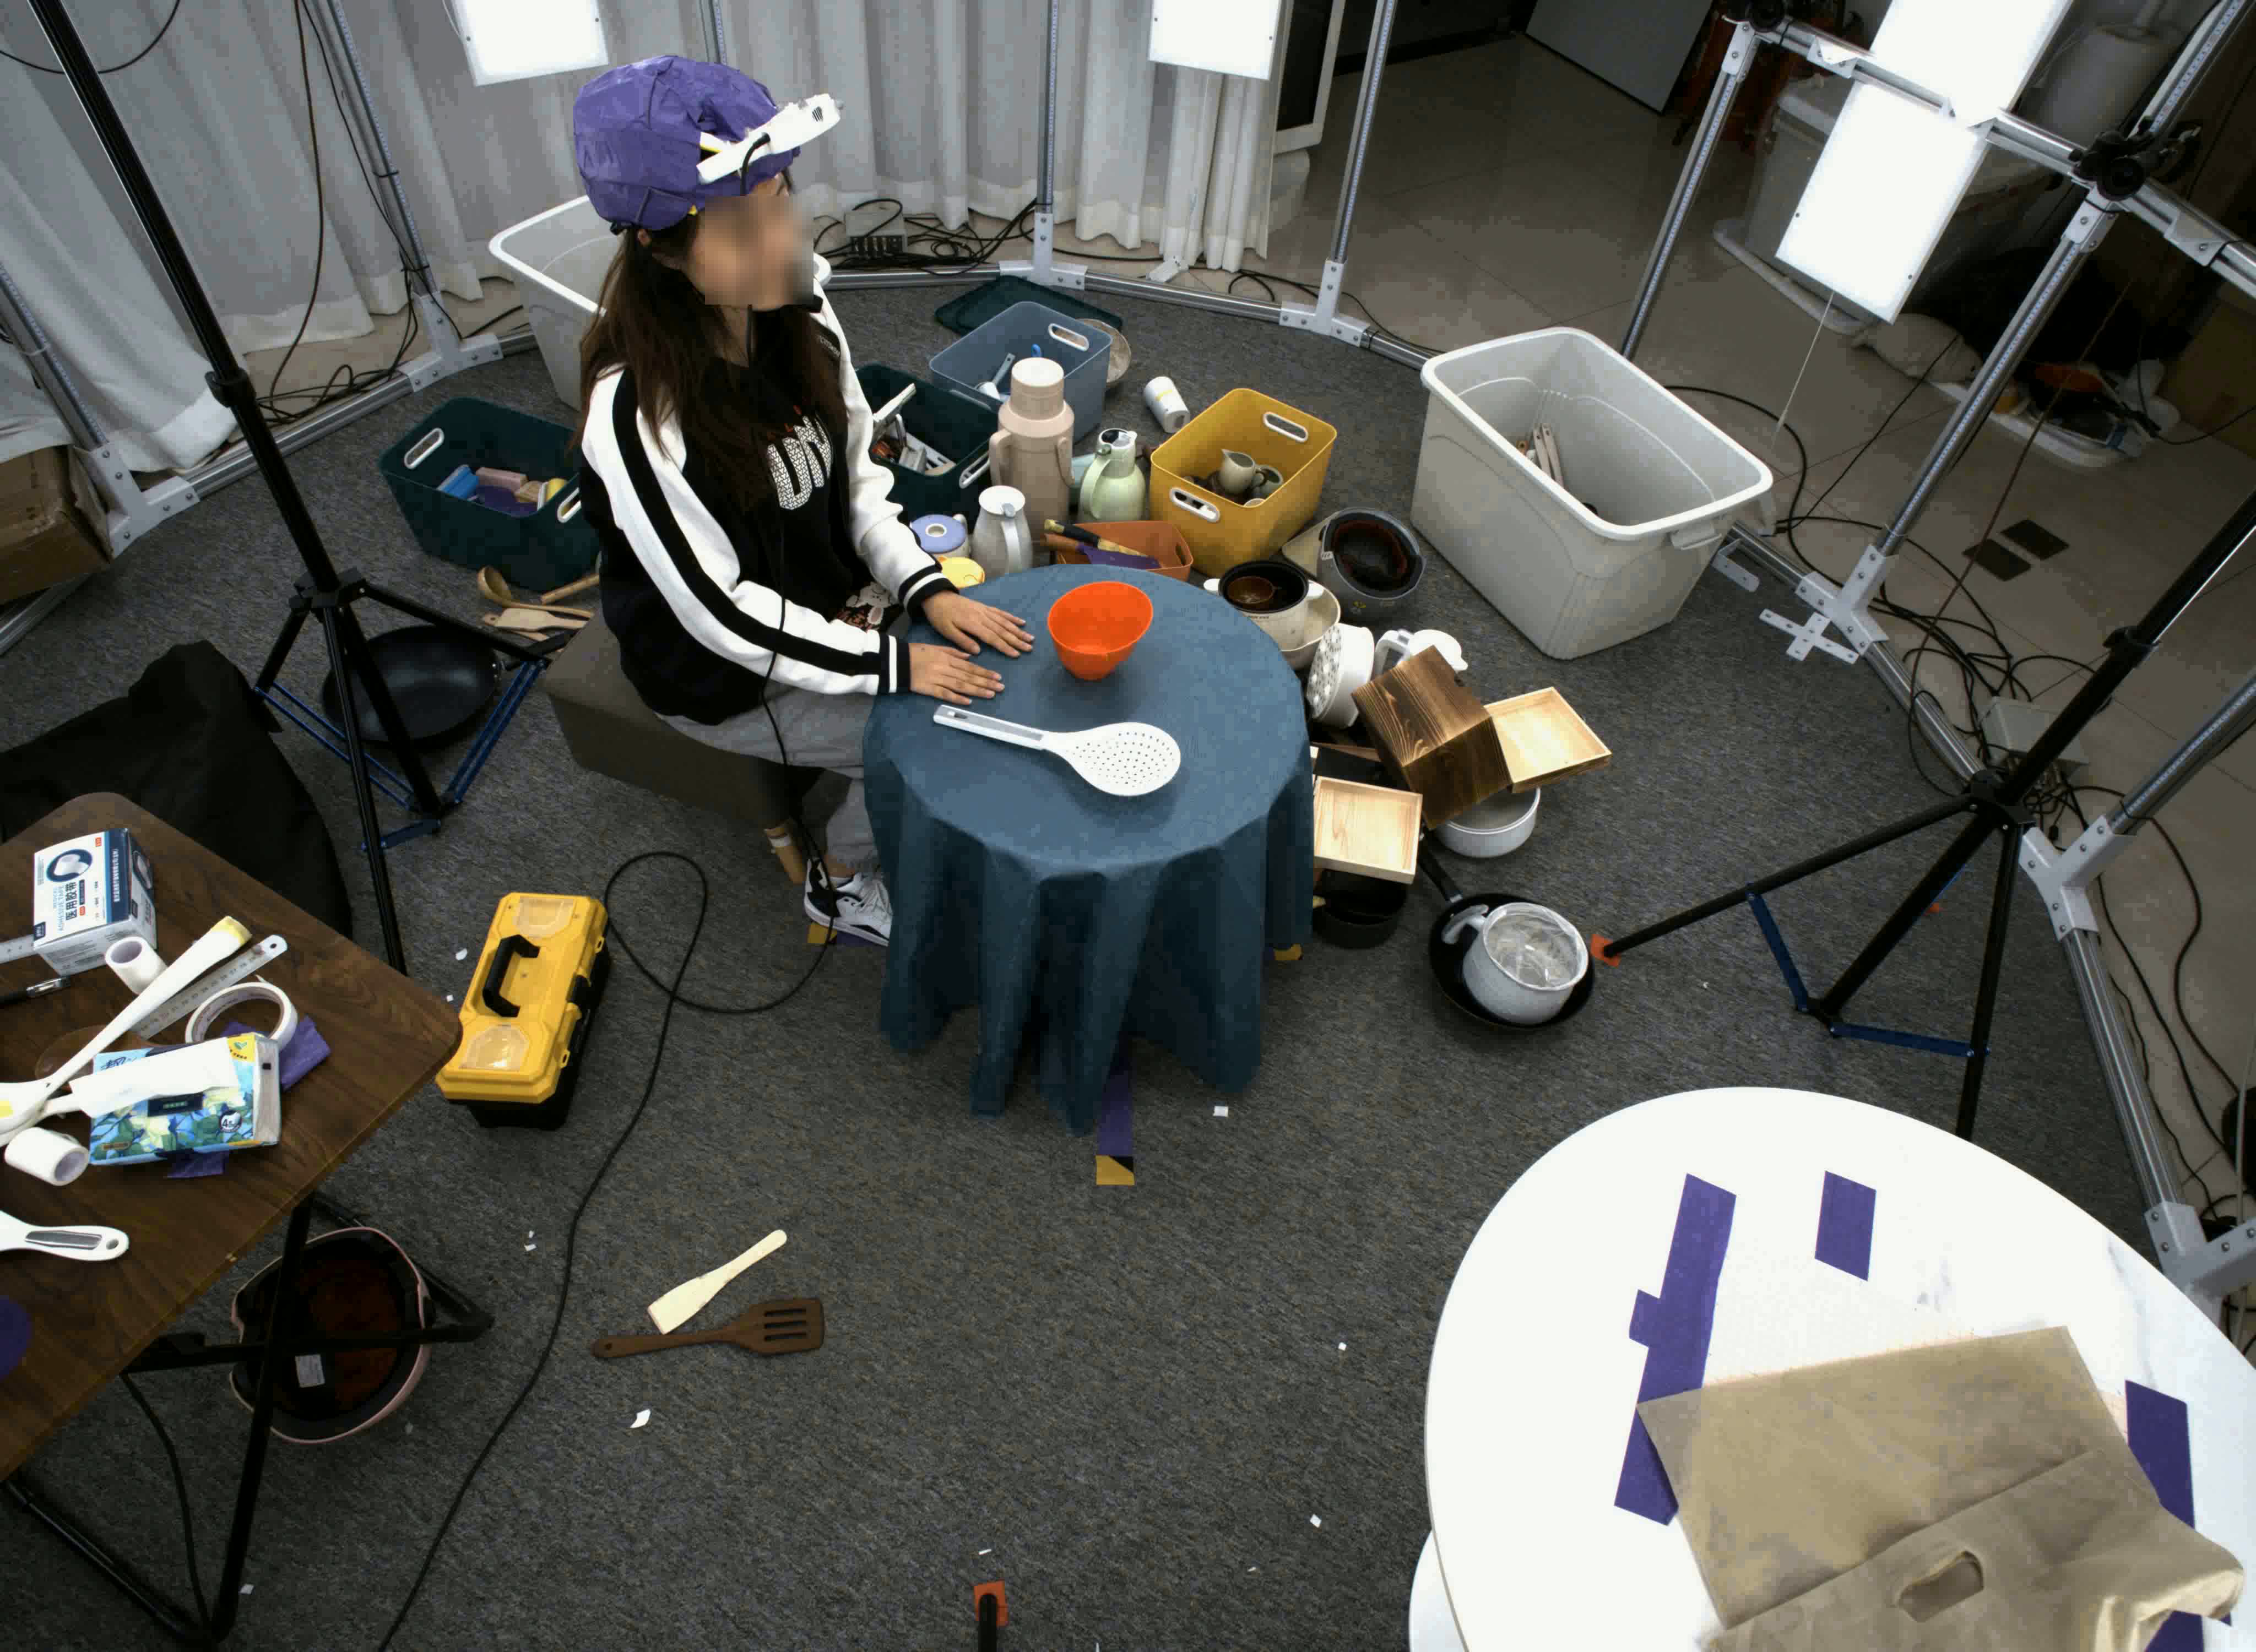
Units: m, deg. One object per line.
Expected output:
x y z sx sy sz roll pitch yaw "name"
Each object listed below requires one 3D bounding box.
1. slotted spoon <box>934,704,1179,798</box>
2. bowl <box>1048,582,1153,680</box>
-0.101 -0.112 1.731 0.351 0.044 0.139 18 49 12 "slotted spoon"
-0.040 -0.267 1.834 0.148 0.102 0.151 1 52 -2 "bowl"
